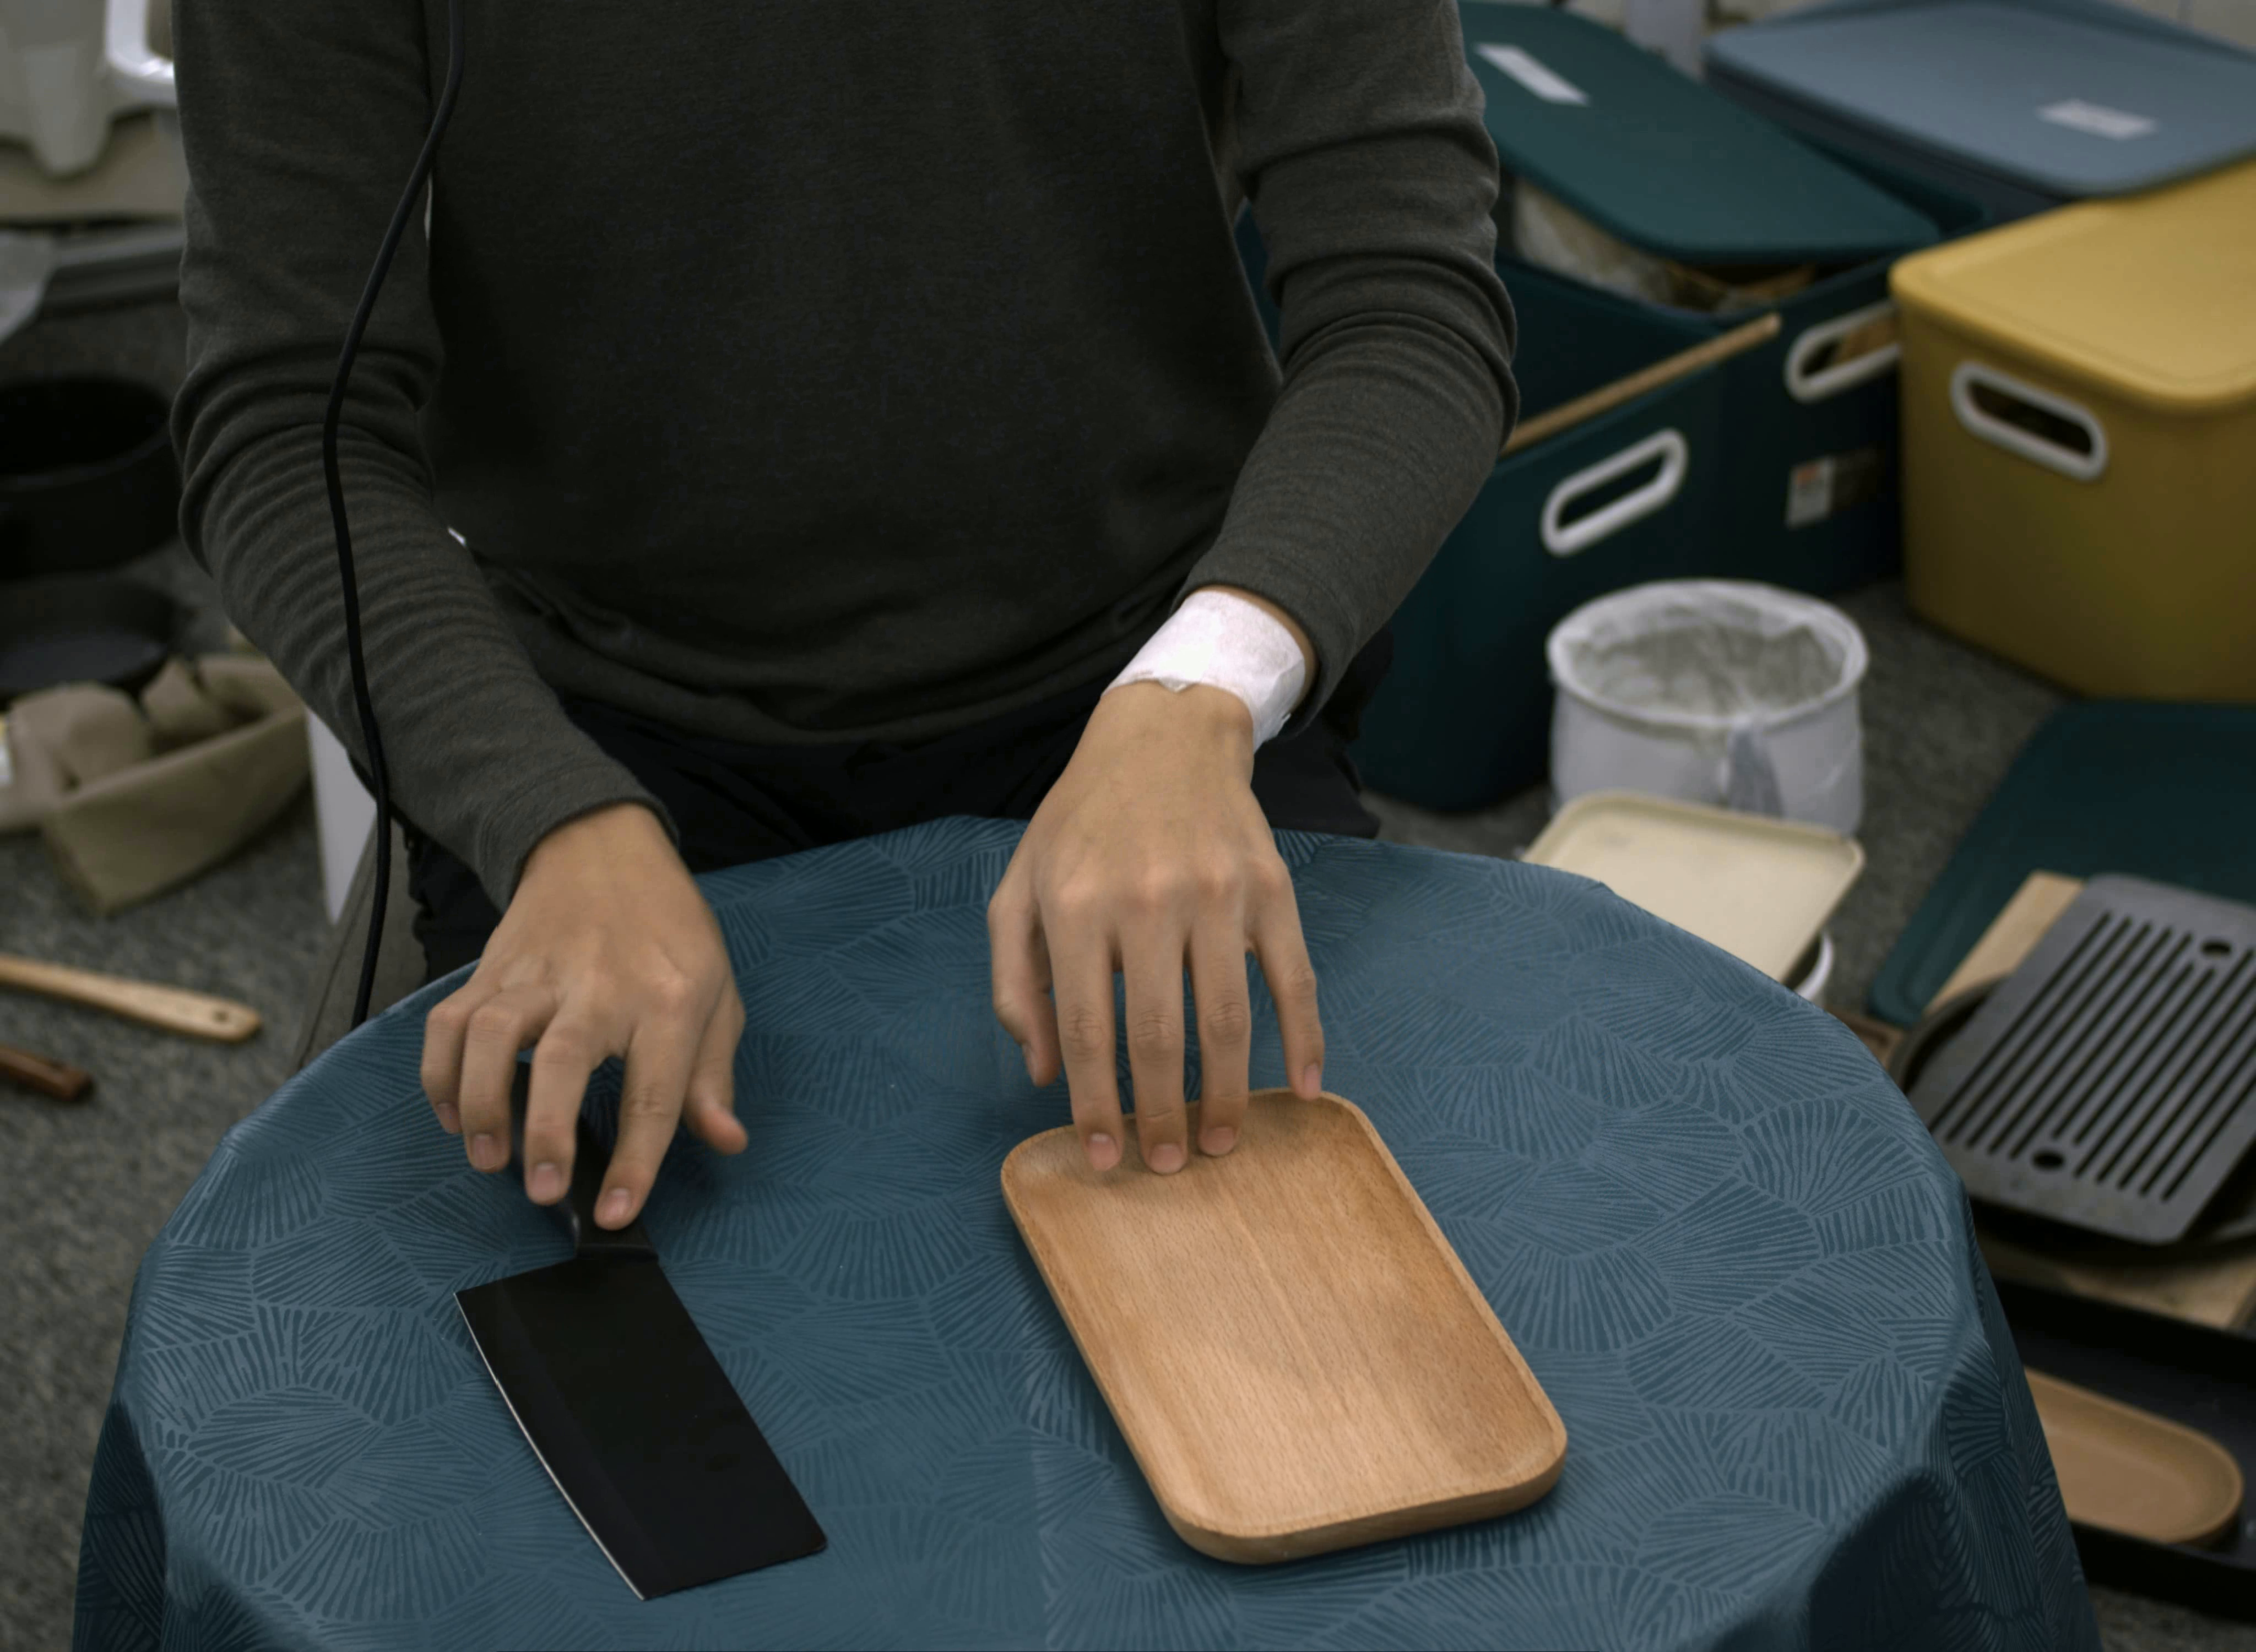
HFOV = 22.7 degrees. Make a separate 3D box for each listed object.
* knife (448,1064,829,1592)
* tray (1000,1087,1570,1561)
[{"bbox_3d":[-0.172,0.157,1.796,0.081,0.020,0.305,-10,30,-15],"label":"knife"},{"bbox_3d":[0.045,0.154,1.777,0.130,0.022,0.253,-7,26,-13],"label":"tray"}]
